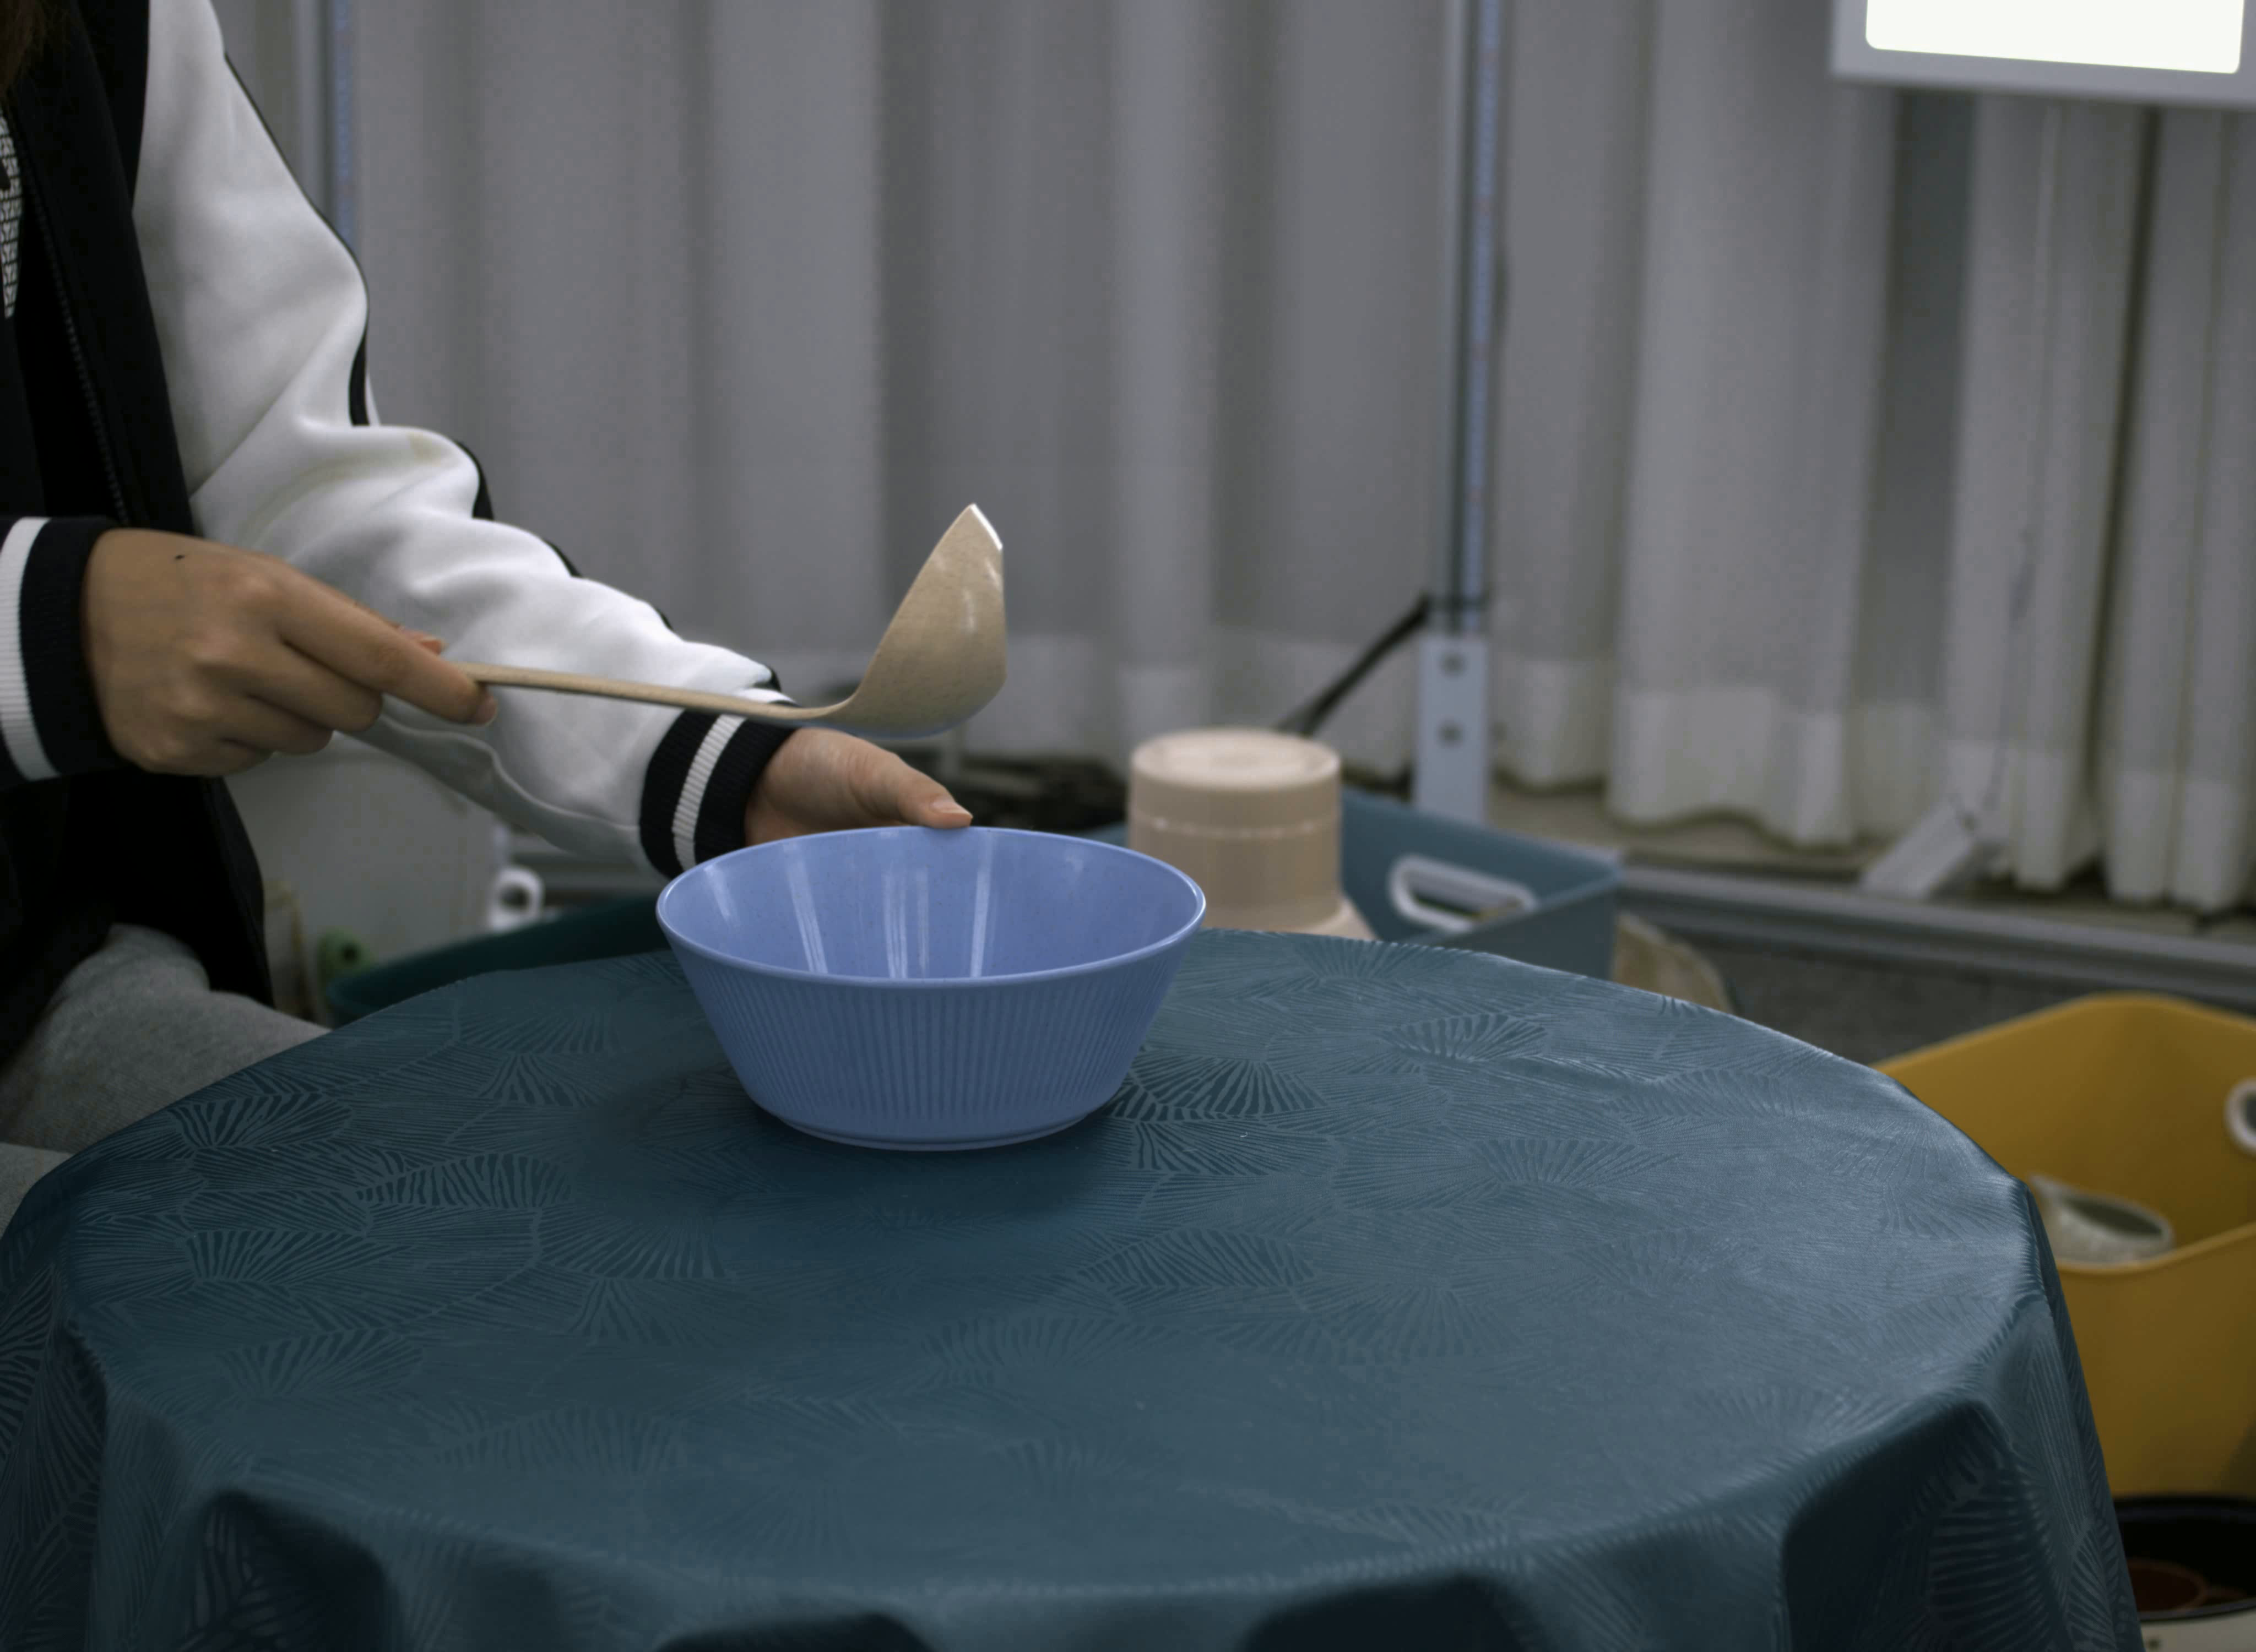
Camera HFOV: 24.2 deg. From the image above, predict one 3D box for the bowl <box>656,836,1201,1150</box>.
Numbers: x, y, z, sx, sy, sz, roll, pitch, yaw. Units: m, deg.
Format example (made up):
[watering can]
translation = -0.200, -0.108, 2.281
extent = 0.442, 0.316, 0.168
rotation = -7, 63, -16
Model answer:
[bowl]
translation = -0.064, 0.055, 1.693
extent = 0.175, 0.071, 0.175
rotation = 1, 15, 0

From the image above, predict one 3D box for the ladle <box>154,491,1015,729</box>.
[ladle]
translation = -0.159, -0.071, 1.563
extent = 0.254, 0.073, 0.072
rotation = 4, -3, -3
